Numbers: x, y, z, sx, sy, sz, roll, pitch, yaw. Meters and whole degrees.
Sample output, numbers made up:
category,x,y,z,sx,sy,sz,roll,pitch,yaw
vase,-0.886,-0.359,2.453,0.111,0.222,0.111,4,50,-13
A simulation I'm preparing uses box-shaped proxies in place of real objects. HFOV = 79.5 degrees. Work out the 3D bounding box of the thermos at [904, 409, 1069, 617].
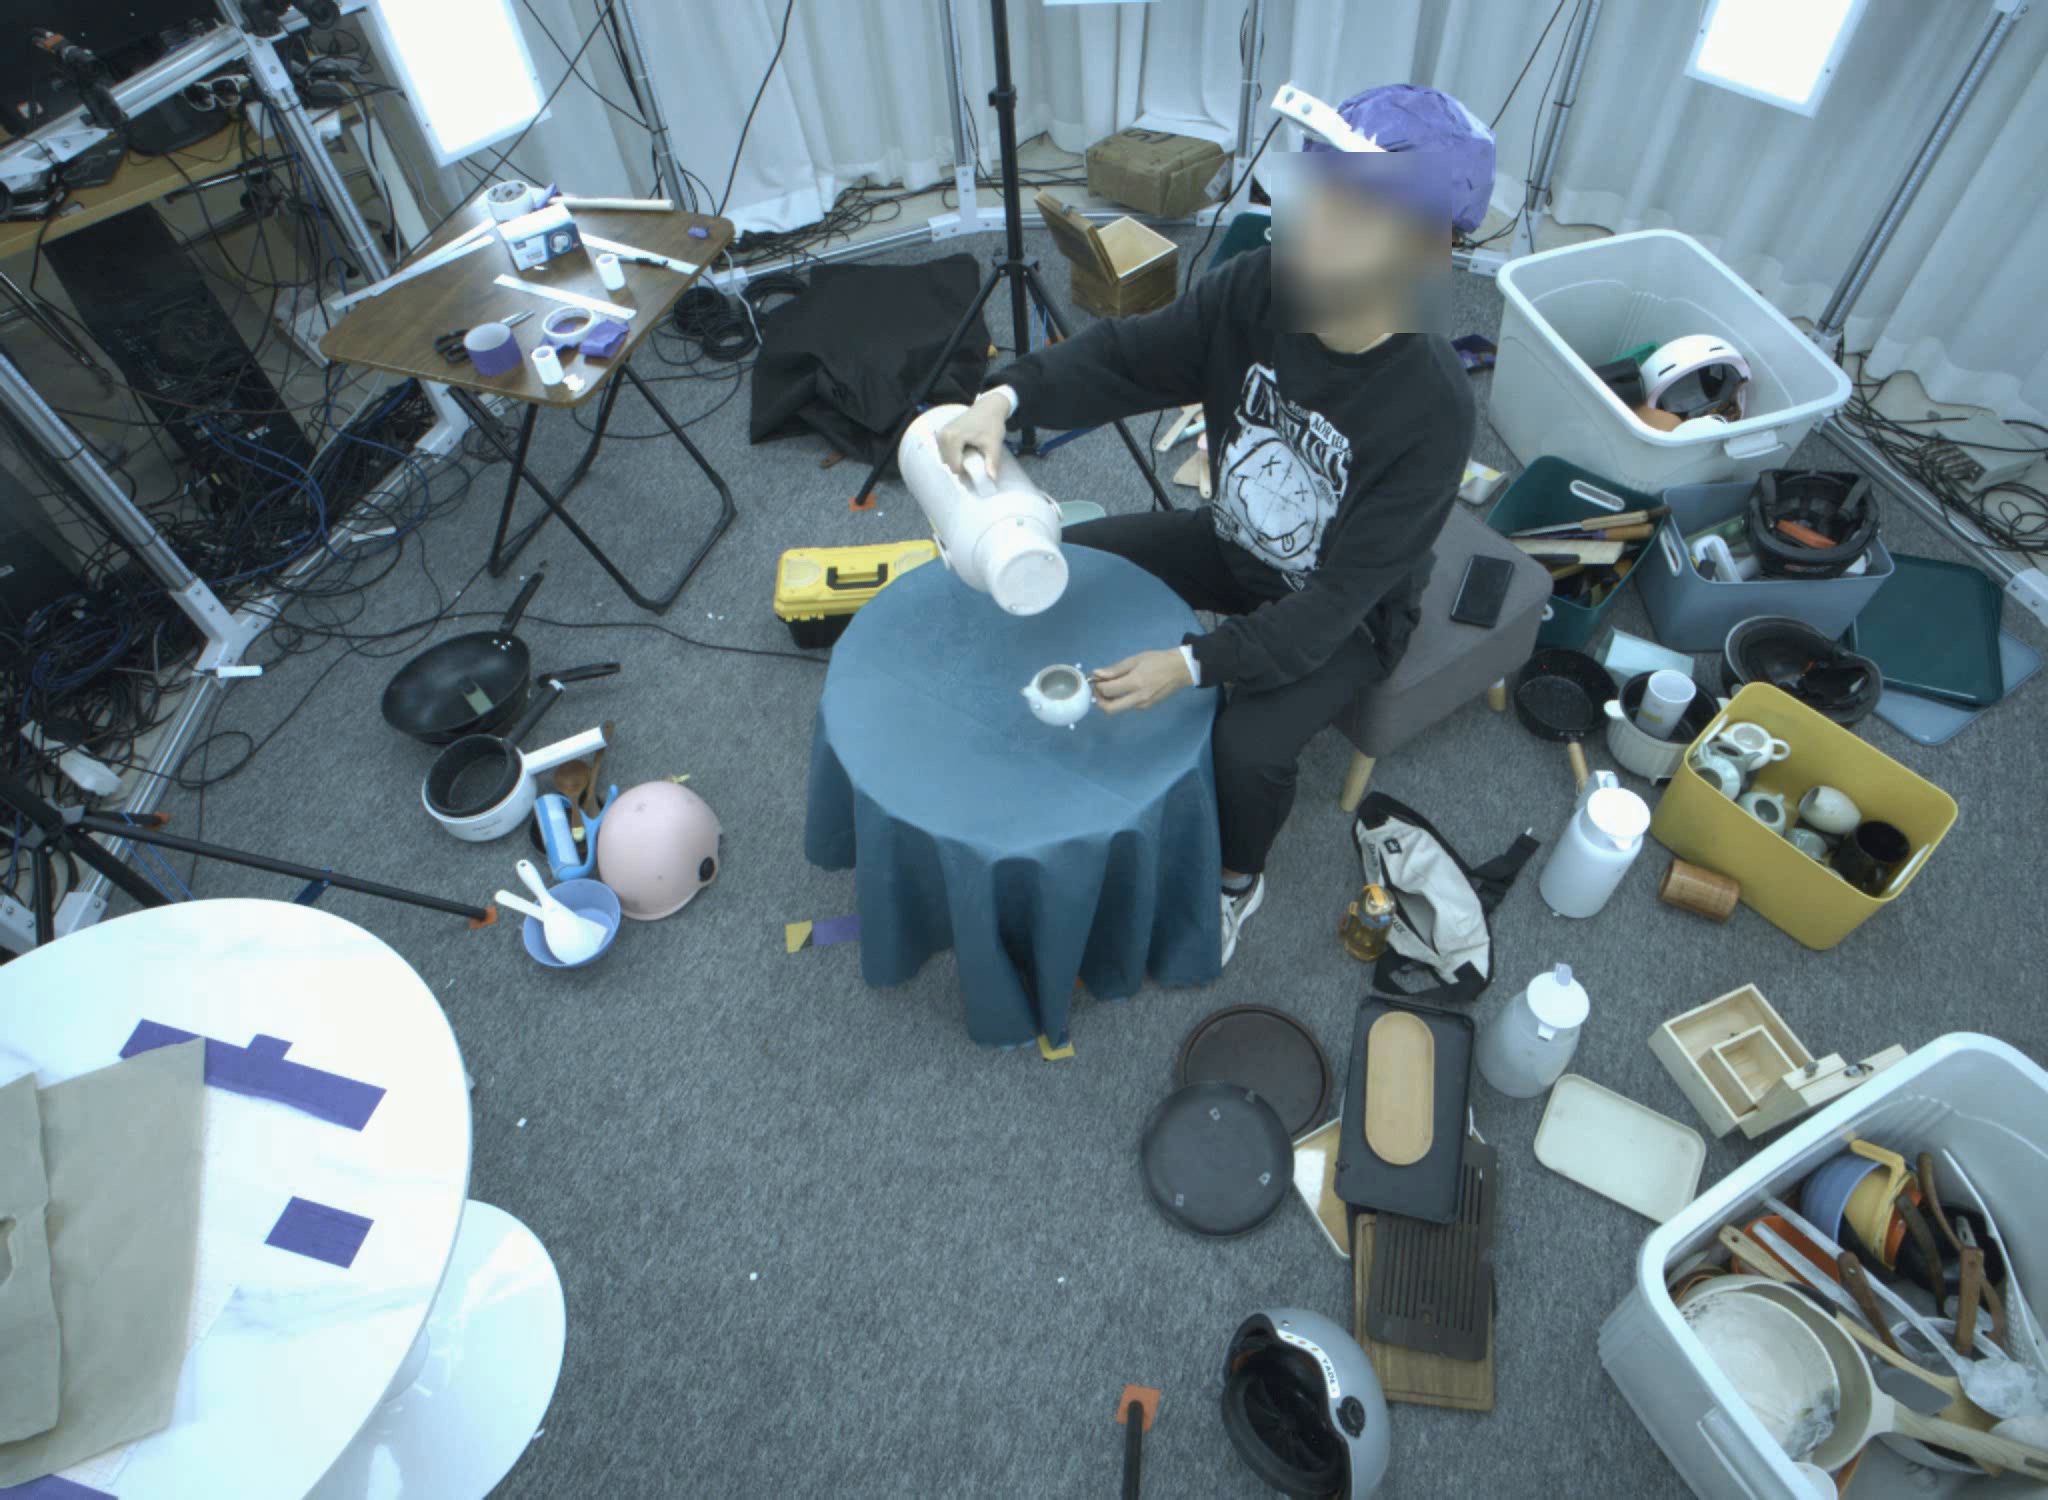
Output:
category,x,y,z,sx,sy,sz,roll,pitch,yaw
thermos,-0.055,-0.348,1.715,0.175,0.211,0.398,-24,44,-1

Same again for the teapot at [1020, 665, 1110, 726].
category,x,y,z,sx,sy,sz,roll,pitch,yaw
teapot,0.059,-0.079,1.723,0.128,0.060,0.090,-13,52,-6
